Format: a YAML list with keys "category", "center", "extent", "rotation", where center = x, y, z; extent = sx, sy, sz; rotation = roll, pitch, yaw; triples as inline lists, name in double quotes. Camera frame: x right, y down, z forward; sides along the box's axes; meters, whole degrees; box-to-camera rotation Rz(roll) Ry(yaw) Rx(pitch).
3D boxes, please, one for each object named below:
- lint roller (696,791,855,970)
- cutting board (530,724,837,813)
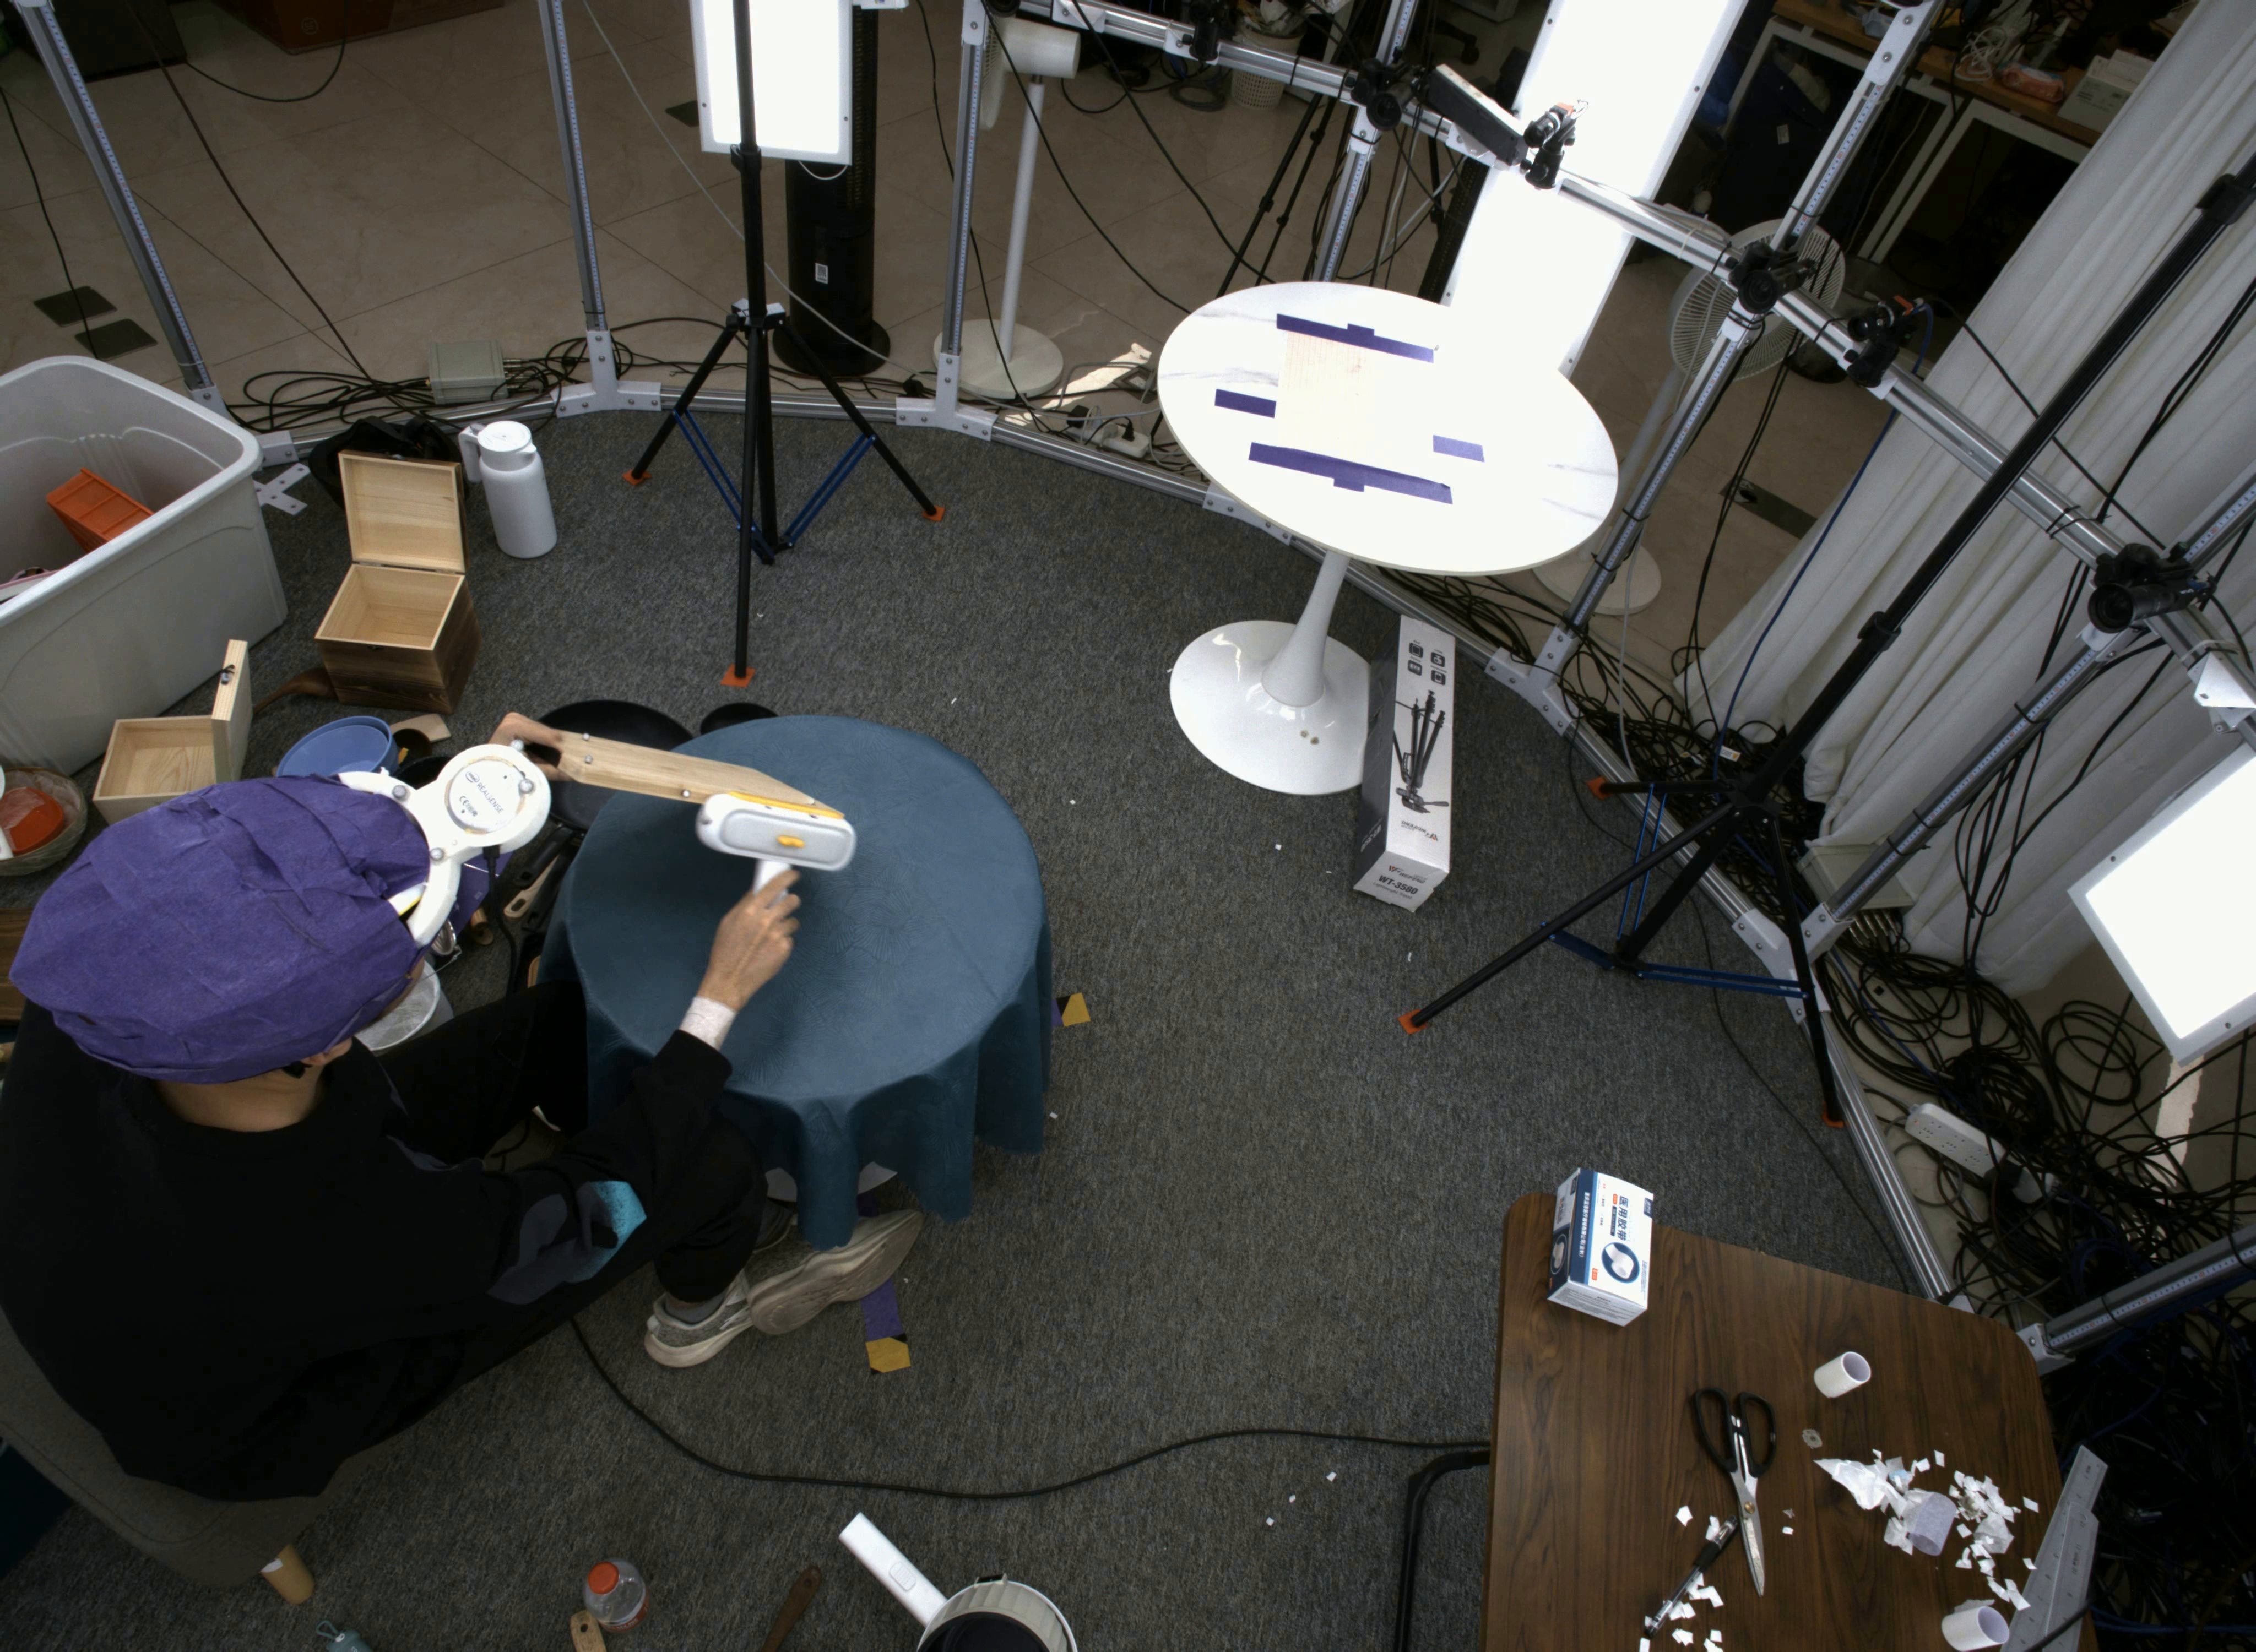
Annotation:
- category: "lint roller"
  center: [-0.413, 0.065, 1.507]
  extent: [0.071, 0.195, 0.198]
  rotation: [13, 3, 42]
- category: "cutting board"
  center: [-0.551, -0.065, 1.545]
  extent: [0.241, 0.024, 0.358]
  rotation: [21, 6, 41]
